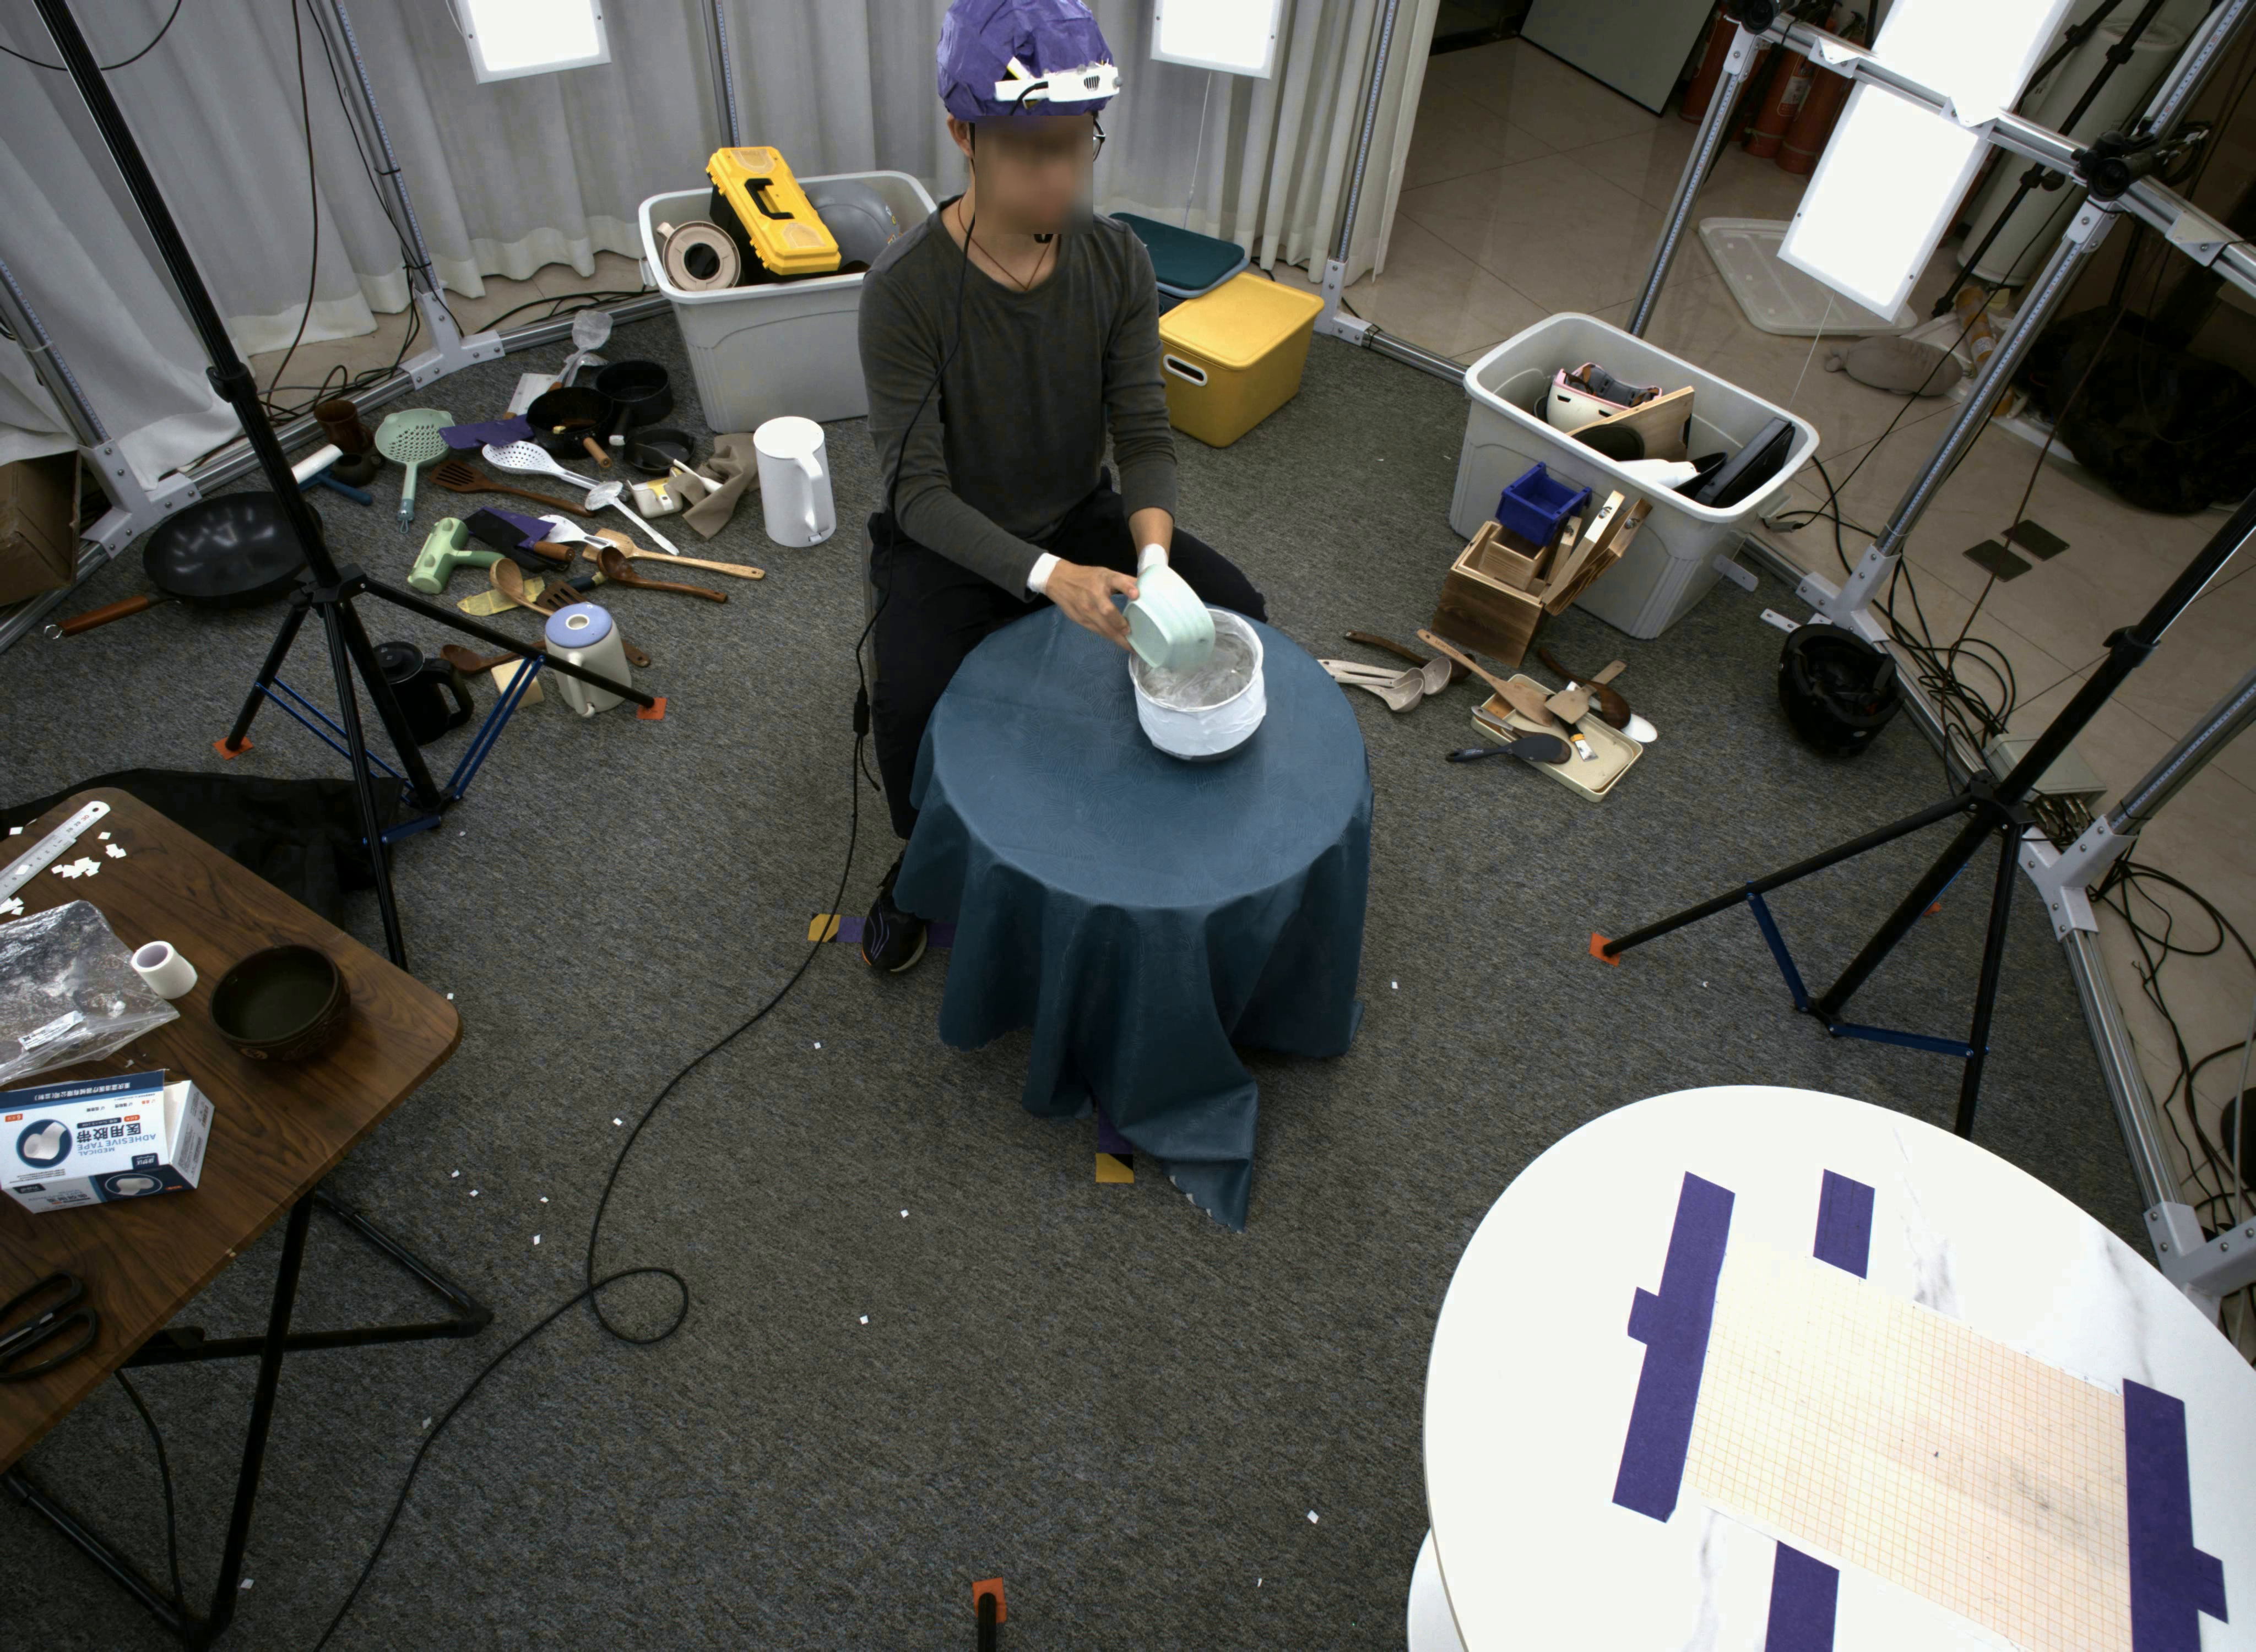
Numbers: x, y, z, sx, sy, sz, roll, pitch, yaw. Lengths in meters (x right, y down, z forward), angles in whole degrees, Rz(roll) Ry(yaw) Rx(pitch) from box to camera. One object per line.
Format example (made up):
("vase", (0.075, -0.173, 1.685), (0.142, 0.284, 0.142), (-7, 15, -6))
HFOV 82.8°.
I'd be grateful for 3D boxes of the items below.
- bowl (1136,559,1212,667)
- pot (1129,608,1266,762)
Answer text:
("bowl", (0.054, -0.265, 1.659), (0.058, 0.148, 0.155), (-24, 54, -4))
("pot", (0.086, -0.206, 1.746), (0.179, 0.133, 0.239), (-23, 56, -7))
